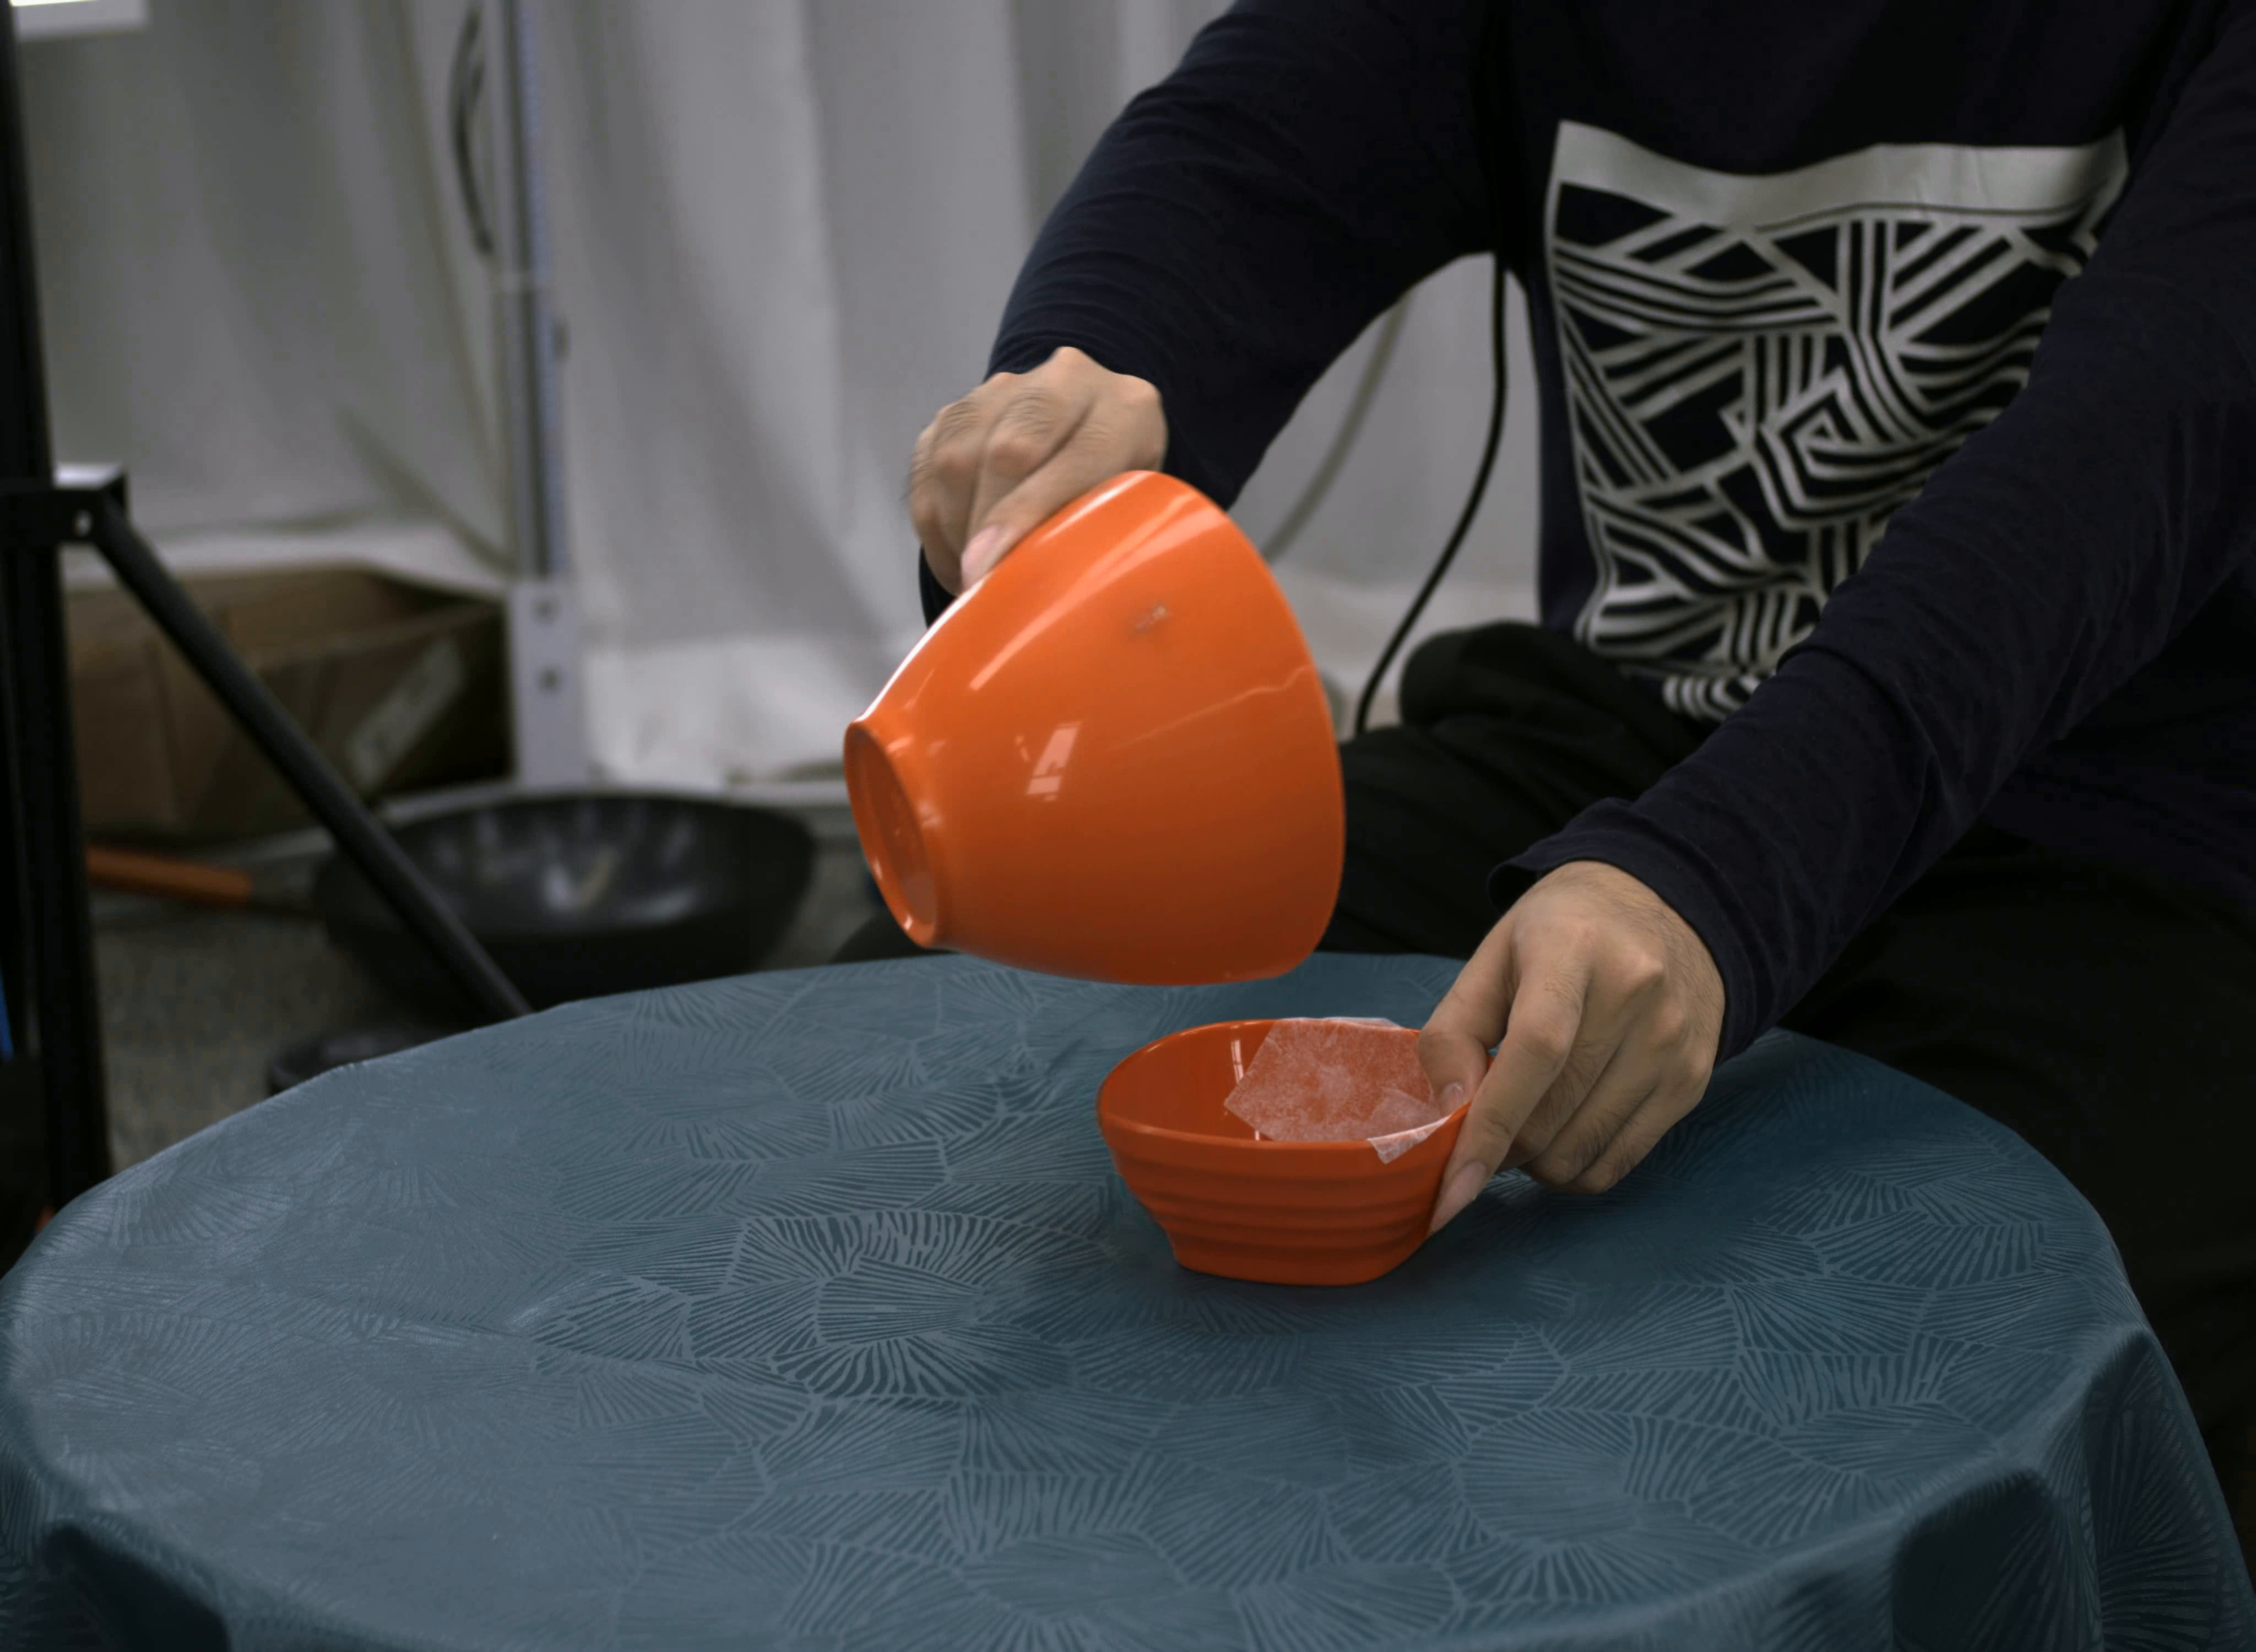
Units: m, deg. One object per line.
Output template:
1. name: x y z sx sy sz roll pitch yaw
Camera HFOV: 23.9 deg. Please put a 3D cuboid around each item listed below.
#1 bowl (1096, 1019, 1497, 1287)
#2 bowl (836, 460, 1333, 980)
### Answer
1. bowl: 0.050 0.095 1.506 0.118 0.051 0.119 -4 15 0
2. bowl: -0.019 -0.016 1.475 0.103 0.147 0.151 -21 21 -16
